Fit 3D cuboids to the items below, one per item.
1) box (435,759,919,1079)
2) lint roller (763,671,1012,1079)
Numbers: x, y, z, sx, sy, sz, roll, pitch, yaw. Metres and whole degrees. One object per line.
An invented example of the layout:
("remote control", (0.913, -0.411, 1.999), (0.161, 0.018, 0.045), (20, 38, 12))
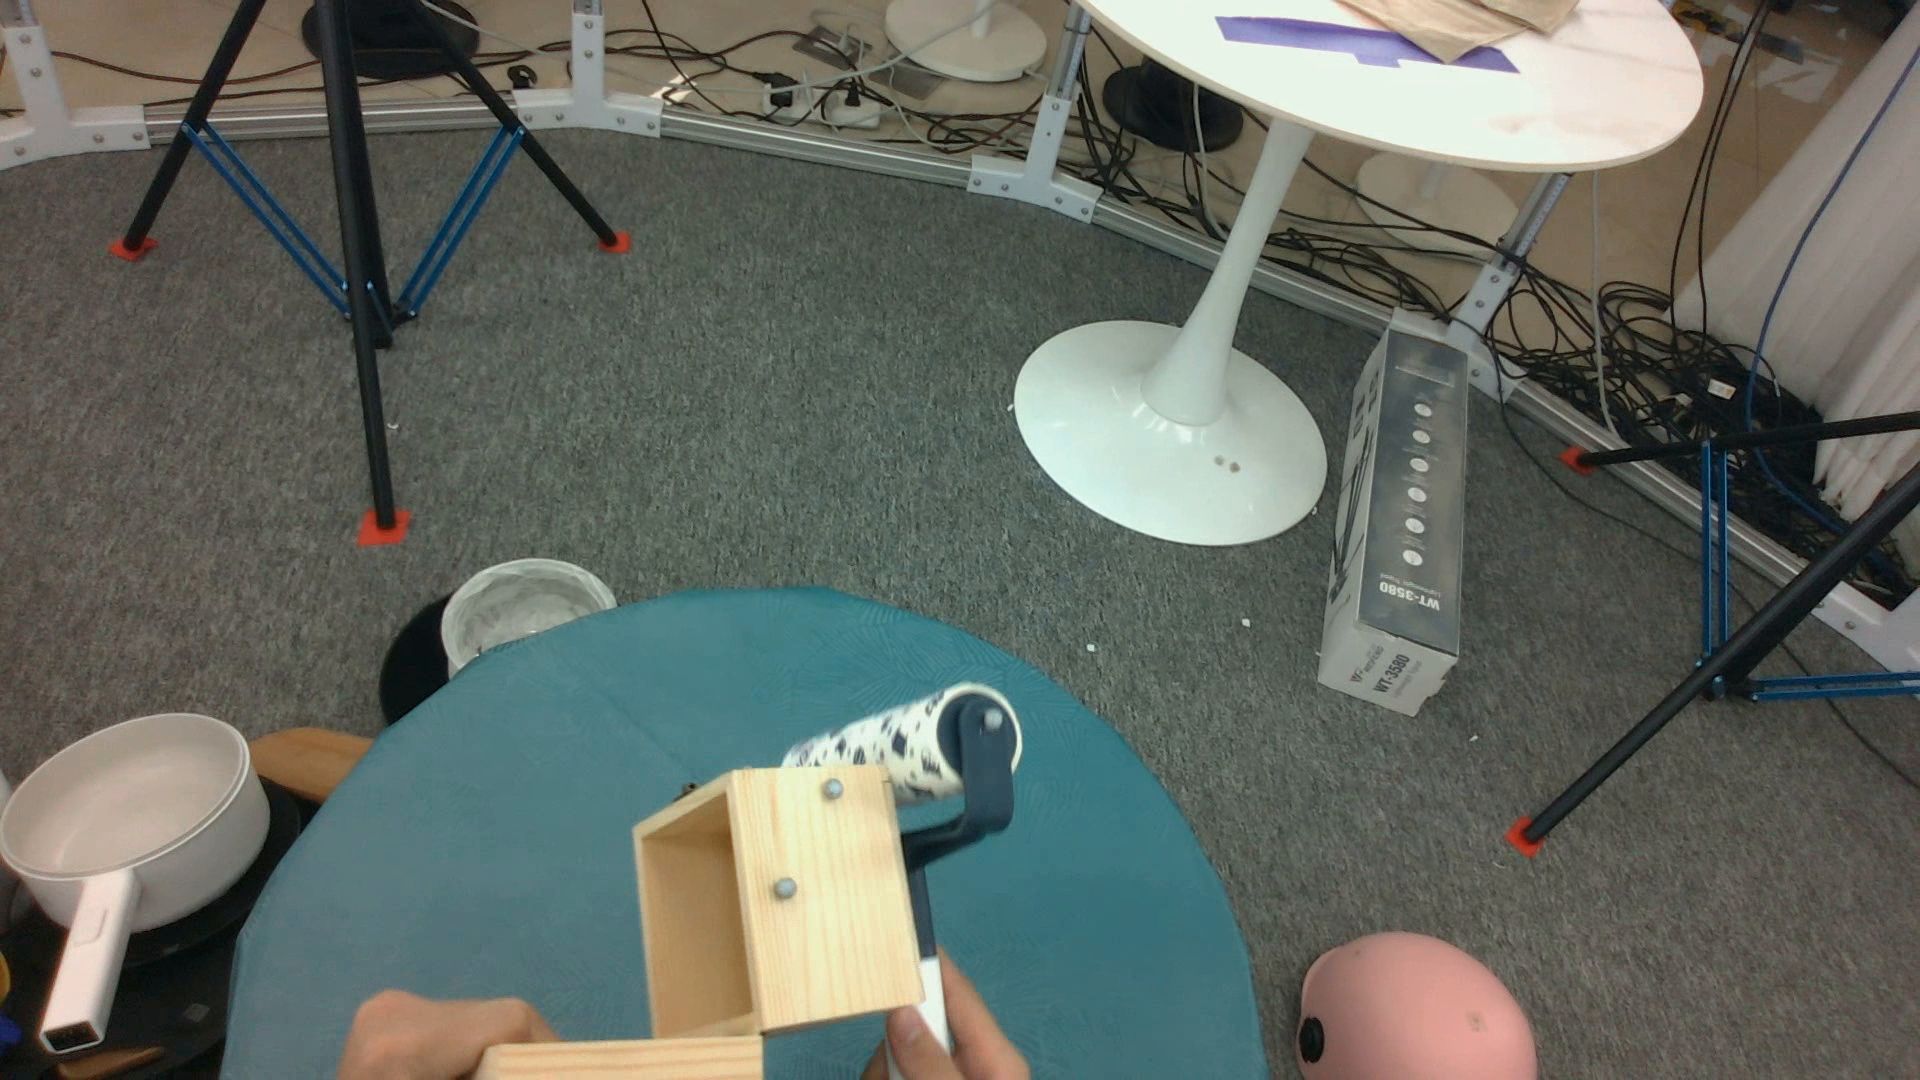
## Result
("box", (-0.125, 0.165, 0.571), (0.185, 0.102, 0.134), (4, 64, -37))
("lint roller", (-0.026, 0.196, 0.631), (0.050, 0.175, 0.247), (0, 74, -34))
